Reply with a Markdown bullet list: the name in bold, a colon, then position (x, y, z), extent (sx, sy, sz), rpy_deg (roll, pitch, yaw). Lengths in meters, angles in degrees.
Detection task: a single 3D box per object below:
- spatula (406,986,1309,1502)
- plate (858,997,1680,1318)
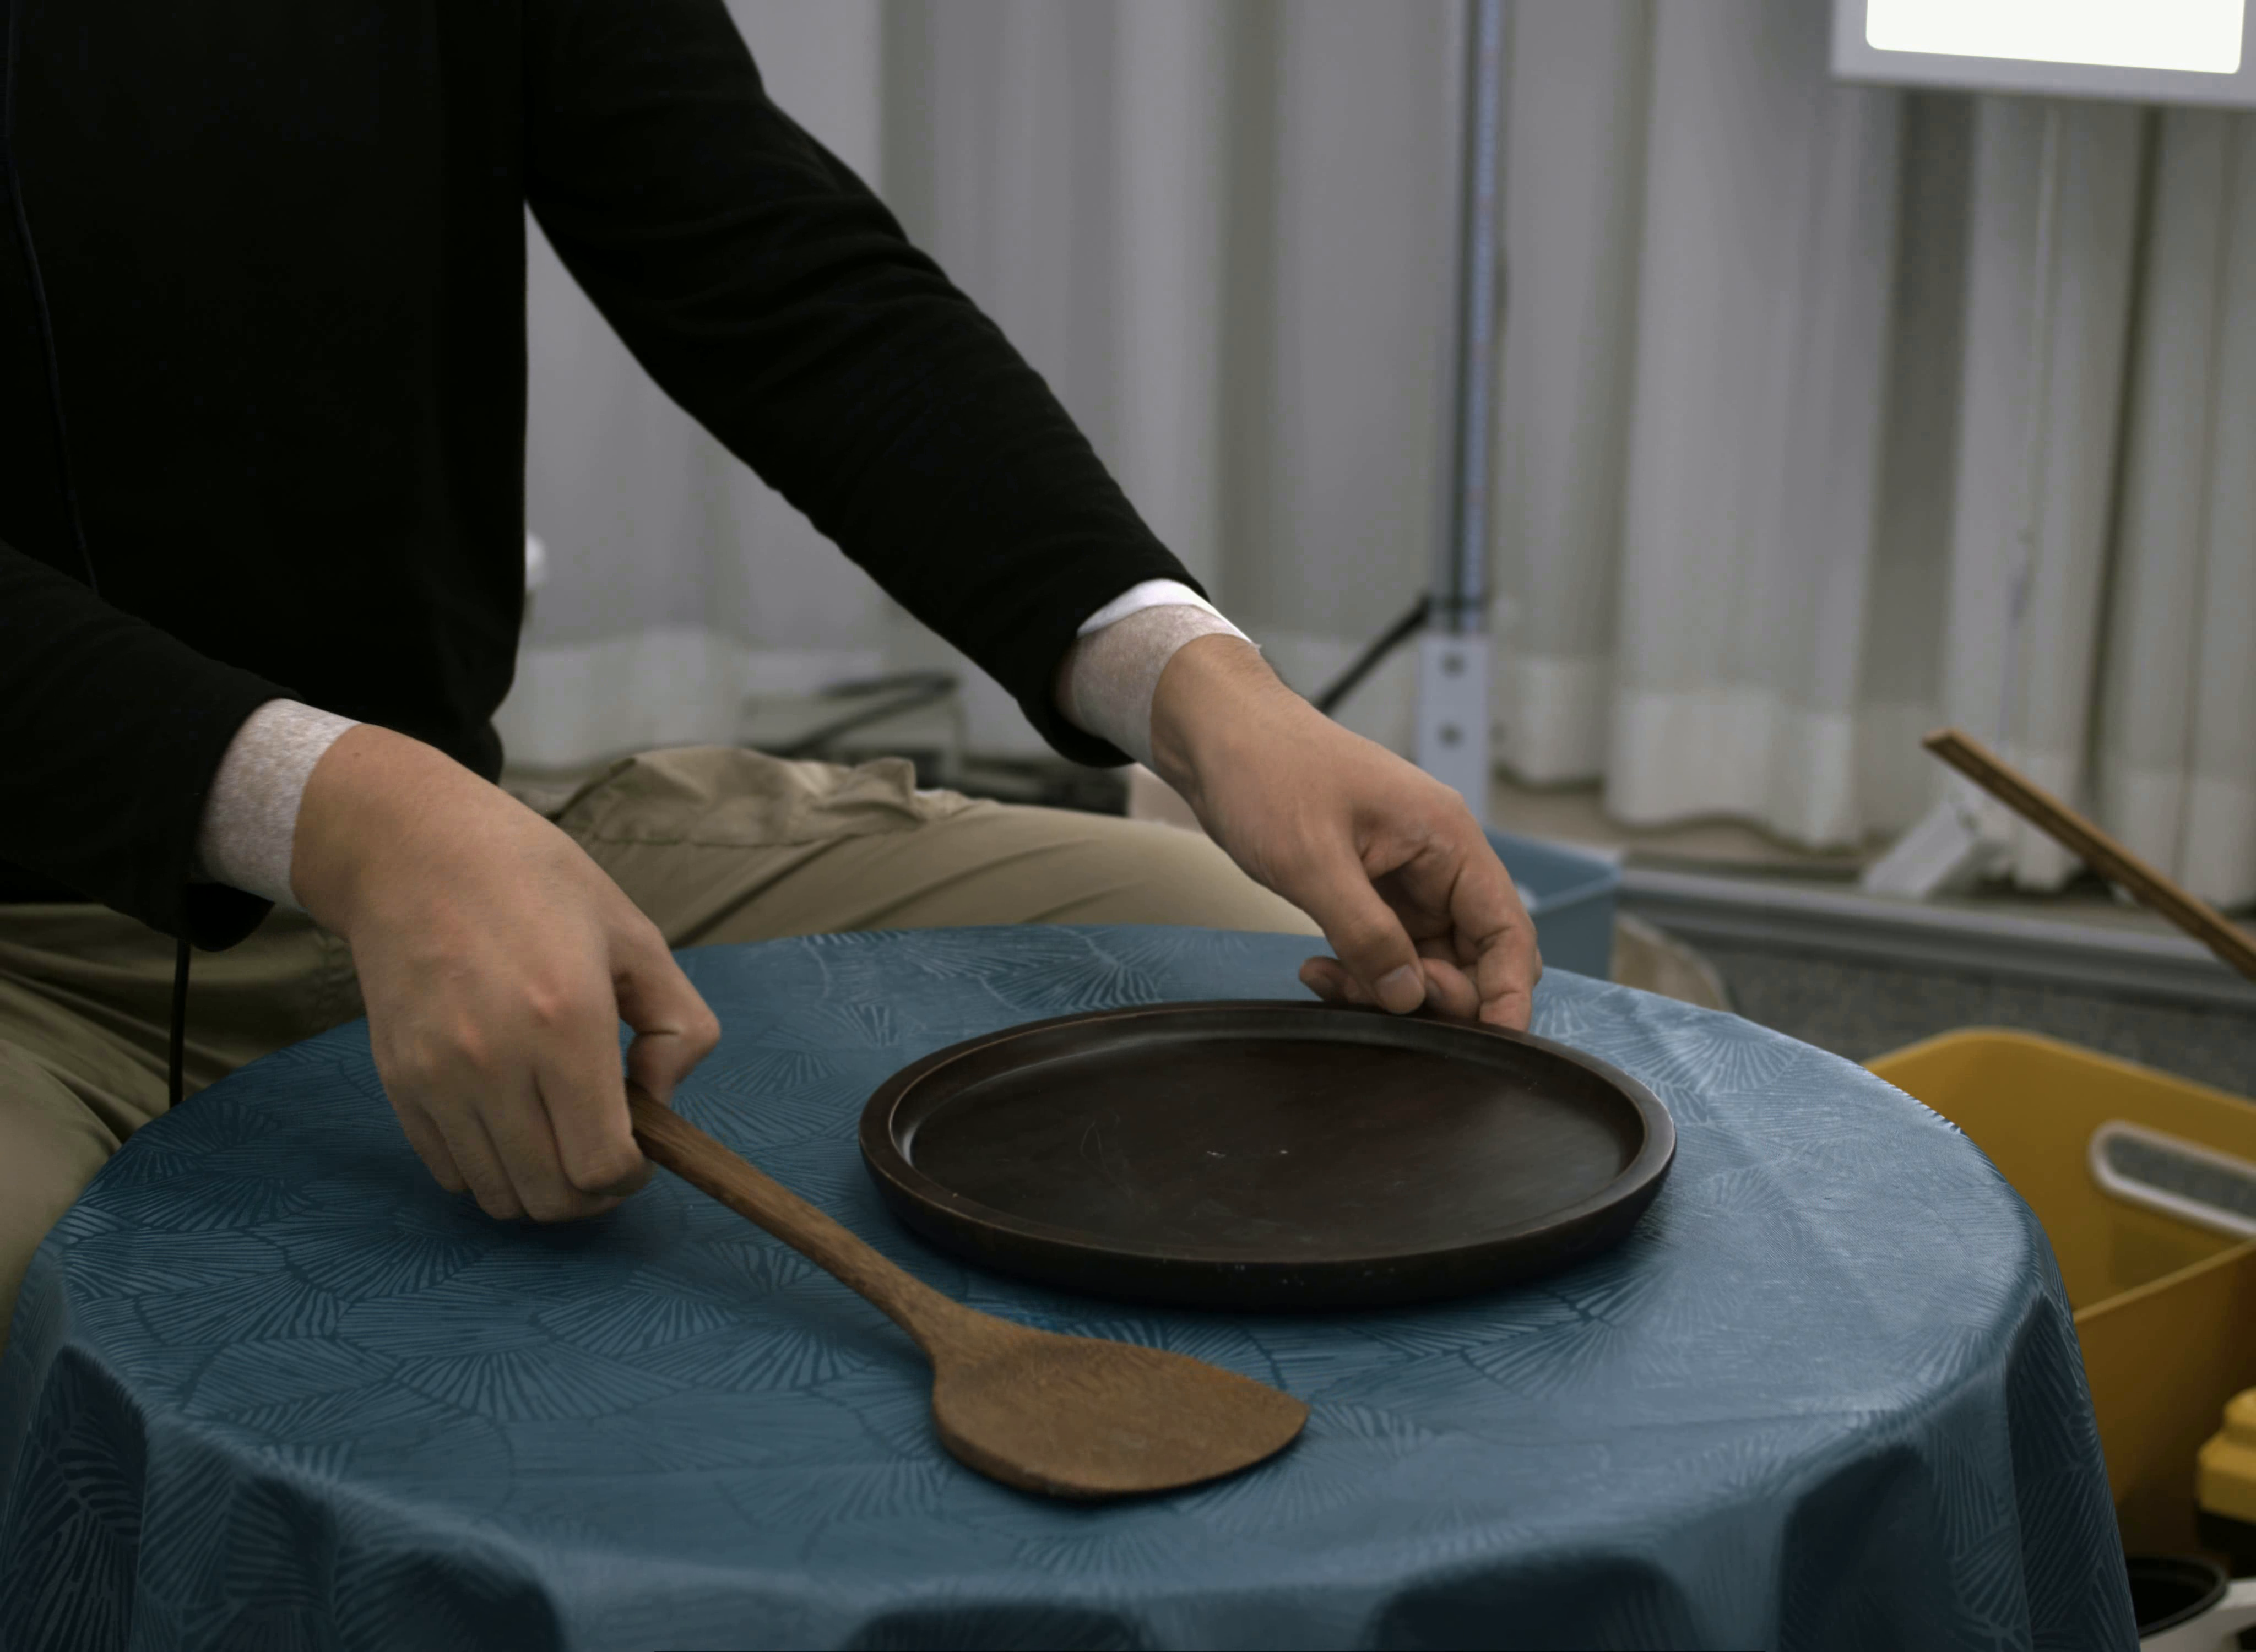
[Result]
- **spatula**: position (-0.099, 0.113, 1.525), extent (0.096, 0.016, 0.380), rpy_deg (-12, 27, -39)
- **plate**: position (0.043, 0.100, 1.622), extent (0.254, 0.029, 0.253), rpy_deg (0, 17, 1)
